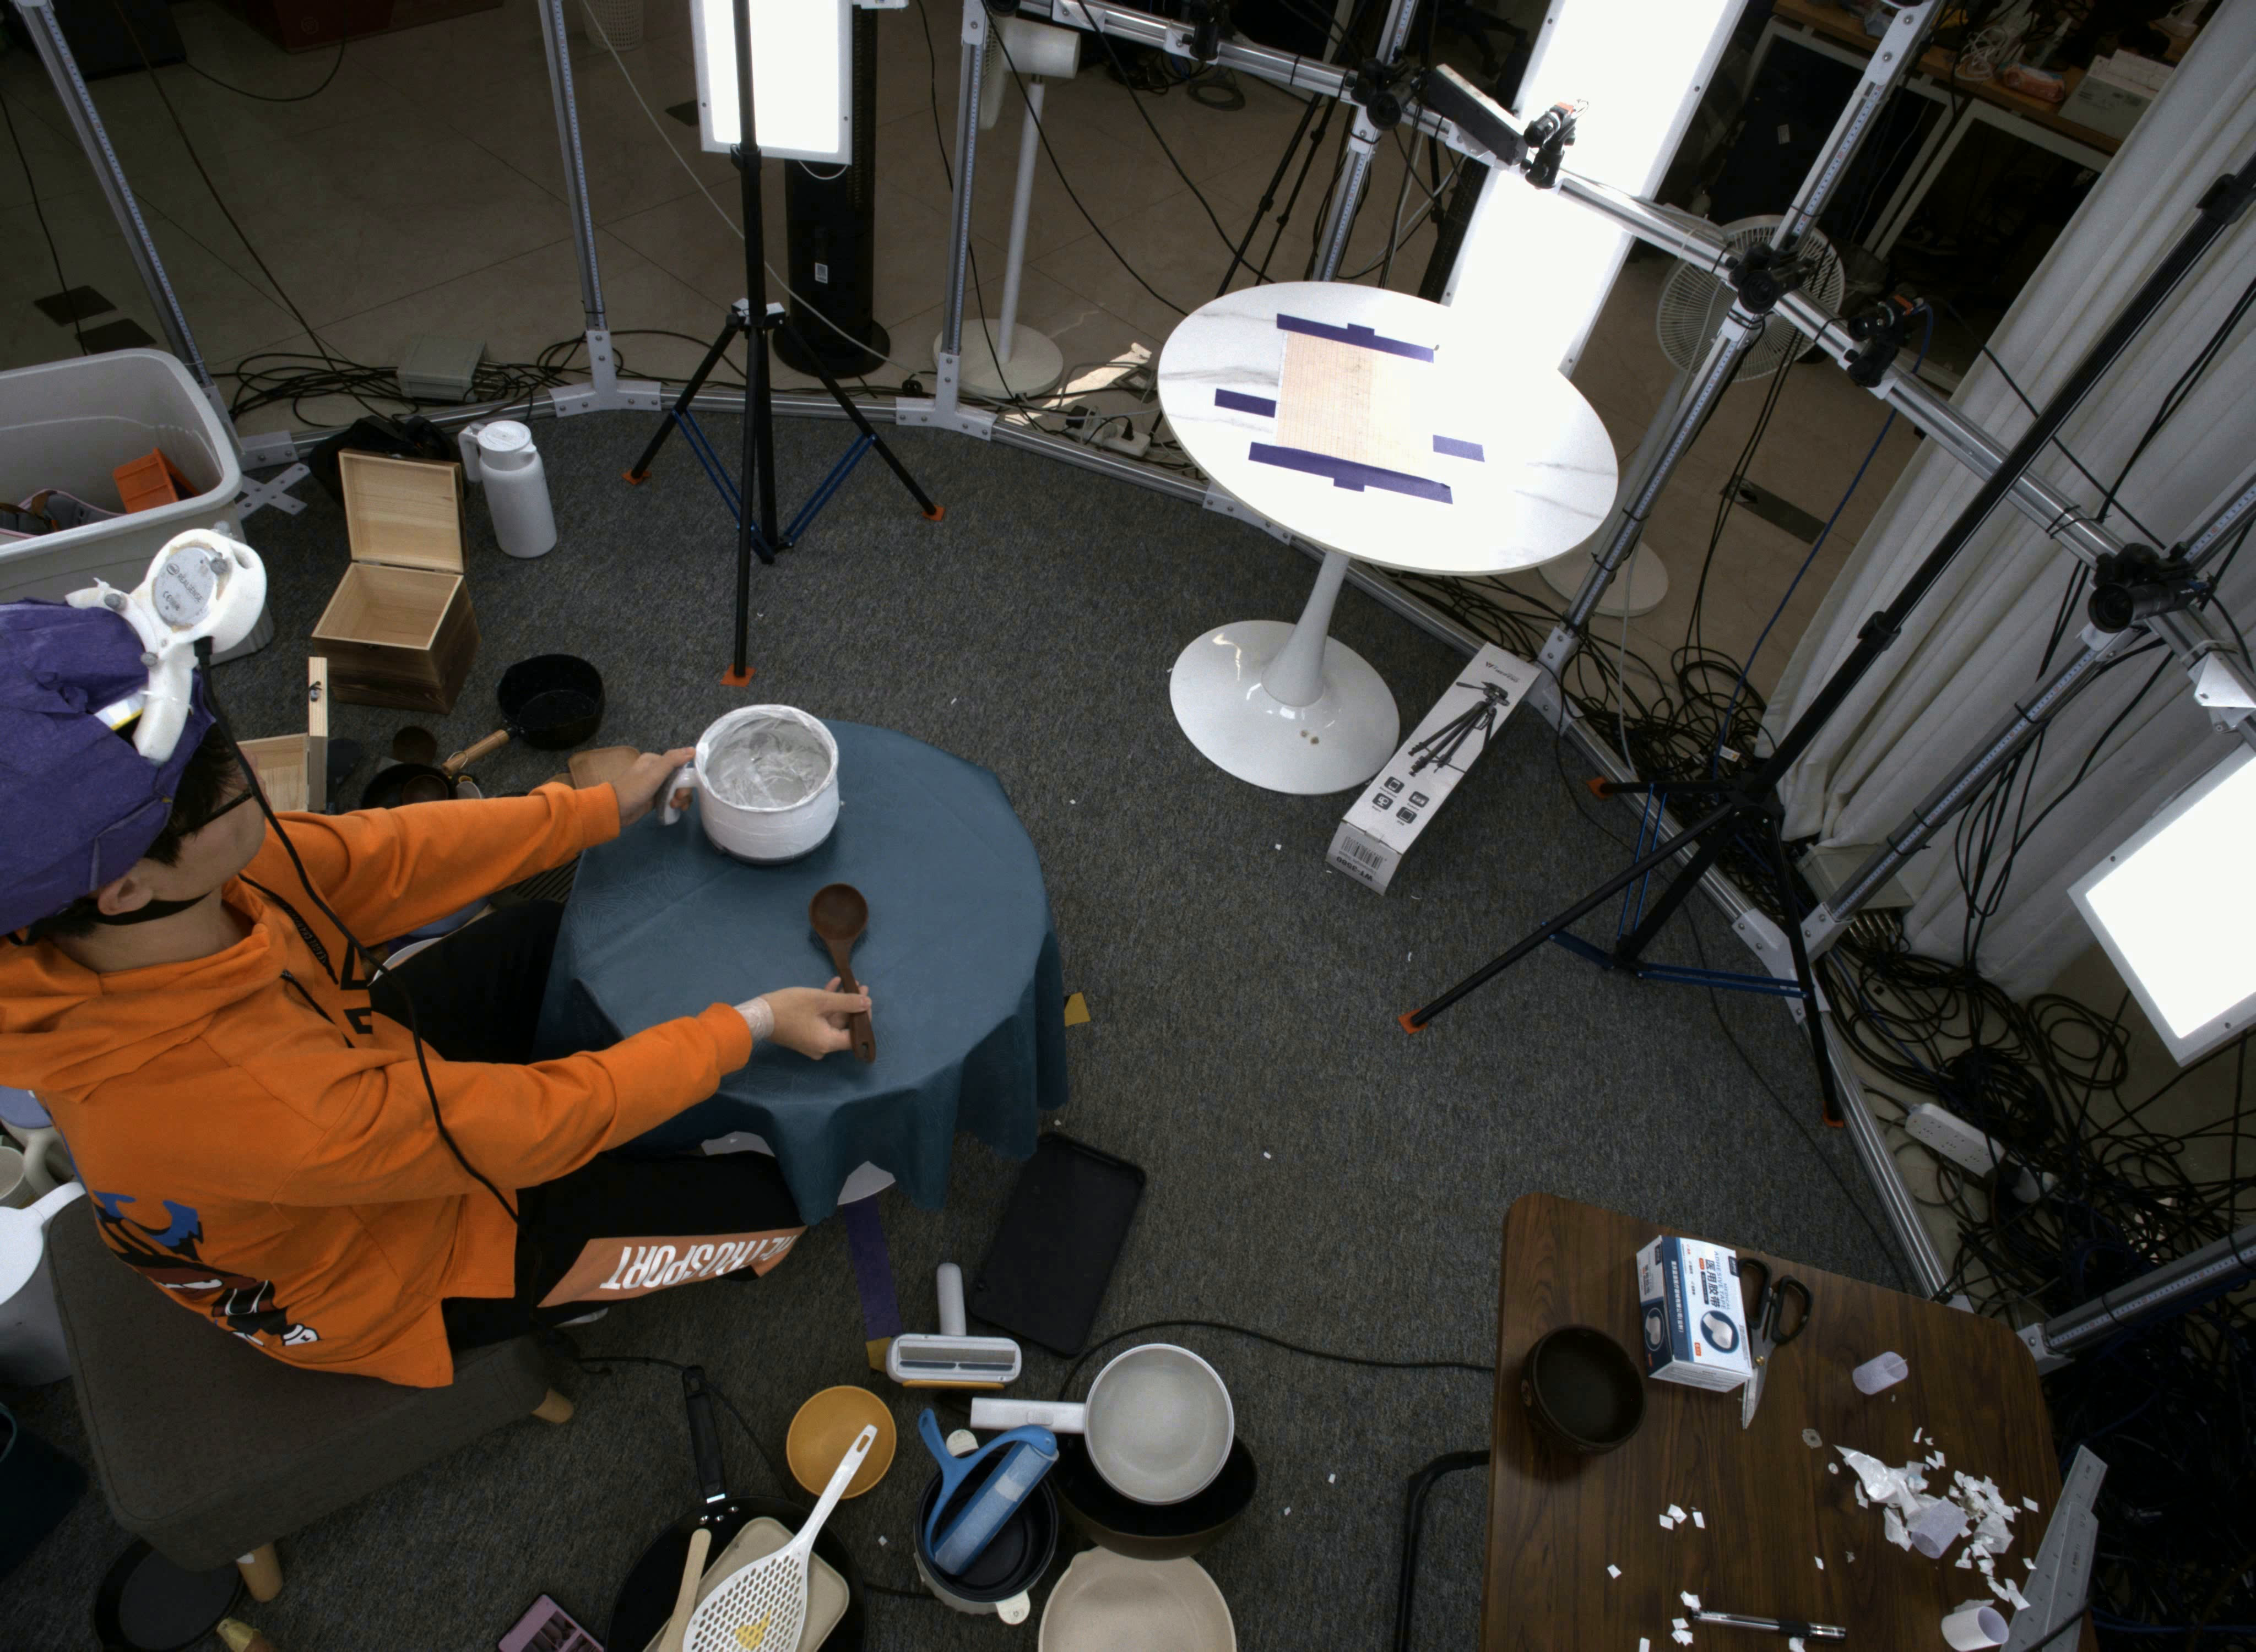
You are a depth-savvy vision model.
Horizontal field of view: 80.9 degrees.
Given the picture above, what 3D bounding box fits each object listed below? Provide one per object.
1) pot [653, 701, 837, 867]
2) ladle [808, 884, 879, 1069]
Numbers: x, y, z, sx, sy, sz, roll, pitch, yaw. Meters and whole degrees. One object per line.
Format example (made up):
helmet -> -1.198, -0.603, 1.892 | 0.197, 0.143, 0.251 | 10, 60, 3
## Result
pot -> -0.489, -0.048, 1.643 | 0.234, 0.139, 0.174 | -5, 54, -17
ladle -> -0.330, 0.171, 1.549 | 0.077, 0.067, 0.252 | -3, 41, -22
